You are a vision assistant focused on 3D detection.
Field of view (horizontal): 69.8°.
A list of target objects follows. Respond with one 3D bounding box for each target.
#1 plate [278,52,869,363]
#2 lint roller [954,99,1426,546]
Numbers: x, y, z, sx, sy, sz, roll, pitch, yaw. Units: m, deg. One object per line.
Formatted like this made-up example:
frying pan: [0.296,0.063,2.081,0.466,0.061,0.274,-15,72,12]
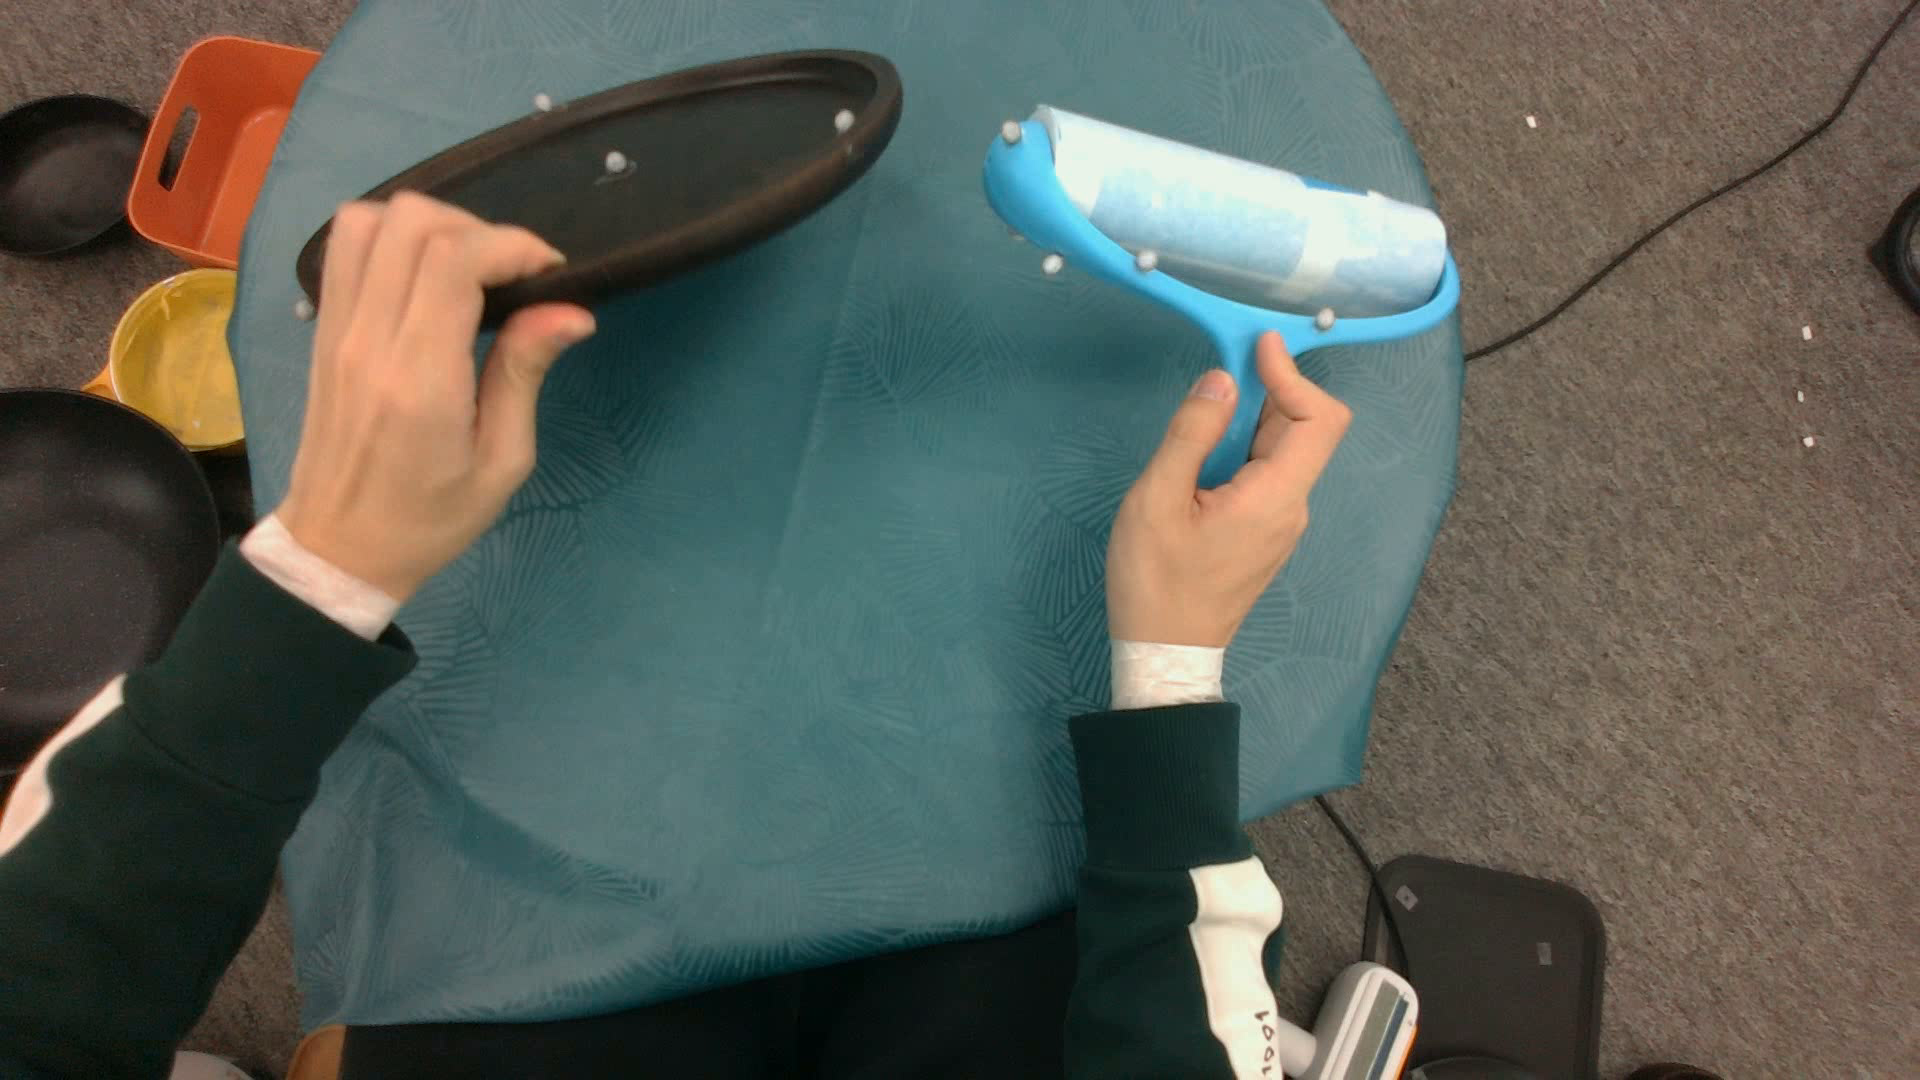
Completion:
plate: [-0.158,-0.146,0.577,0.255,0.255,0.029,-26,125,-12]
lint roller: [0.105,-0.089,0.603,0.229,0.068,0.180,4,83,-23]
